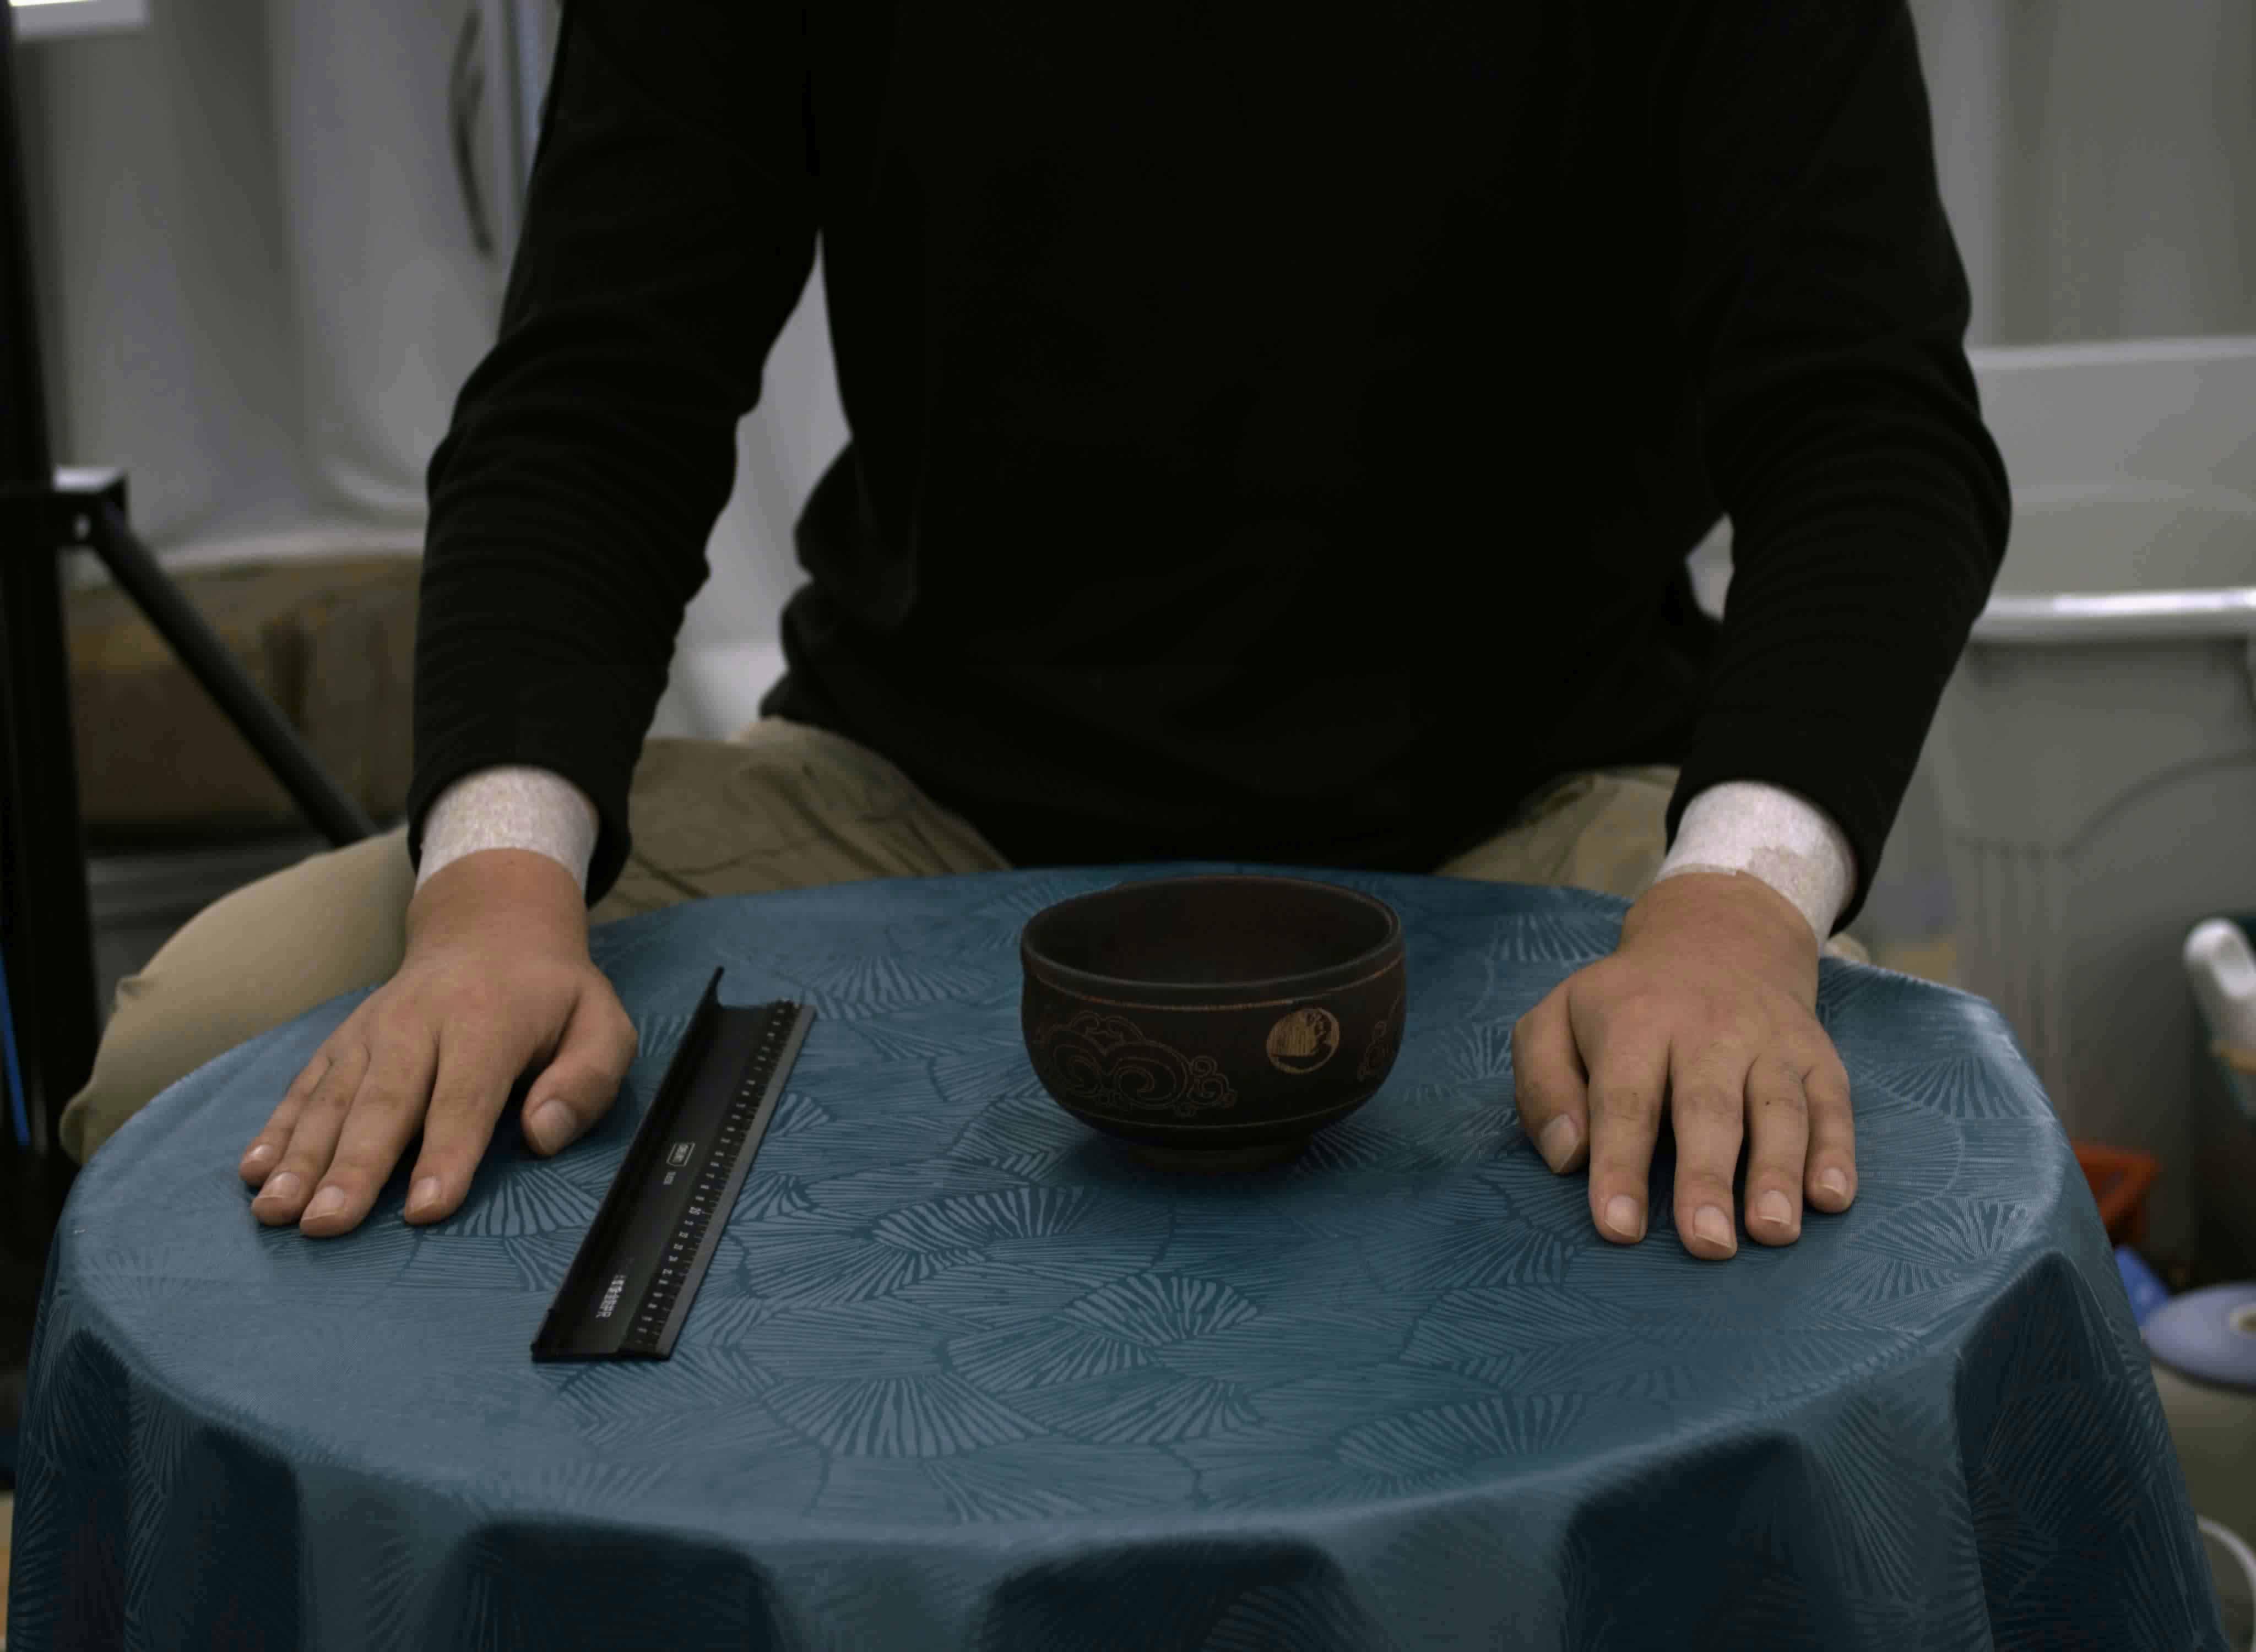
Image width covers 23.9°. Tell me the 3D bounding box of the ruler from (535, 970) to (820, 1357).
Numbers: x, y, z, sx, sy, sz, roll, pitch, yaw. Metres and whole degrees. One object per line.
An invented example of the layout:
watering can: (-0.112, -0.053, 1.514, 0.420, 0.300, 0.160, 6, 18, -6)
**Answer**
ruler: (-0.131, 0.096, 1.593, 0.039, 0.017, 0.312, 3, 16, 4)

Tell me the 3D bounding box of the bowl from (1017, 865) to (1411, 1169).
bowl: (0.026, 0.061, 1.585, 0.117, 0.070, 0.118, -2, 16, -1)
